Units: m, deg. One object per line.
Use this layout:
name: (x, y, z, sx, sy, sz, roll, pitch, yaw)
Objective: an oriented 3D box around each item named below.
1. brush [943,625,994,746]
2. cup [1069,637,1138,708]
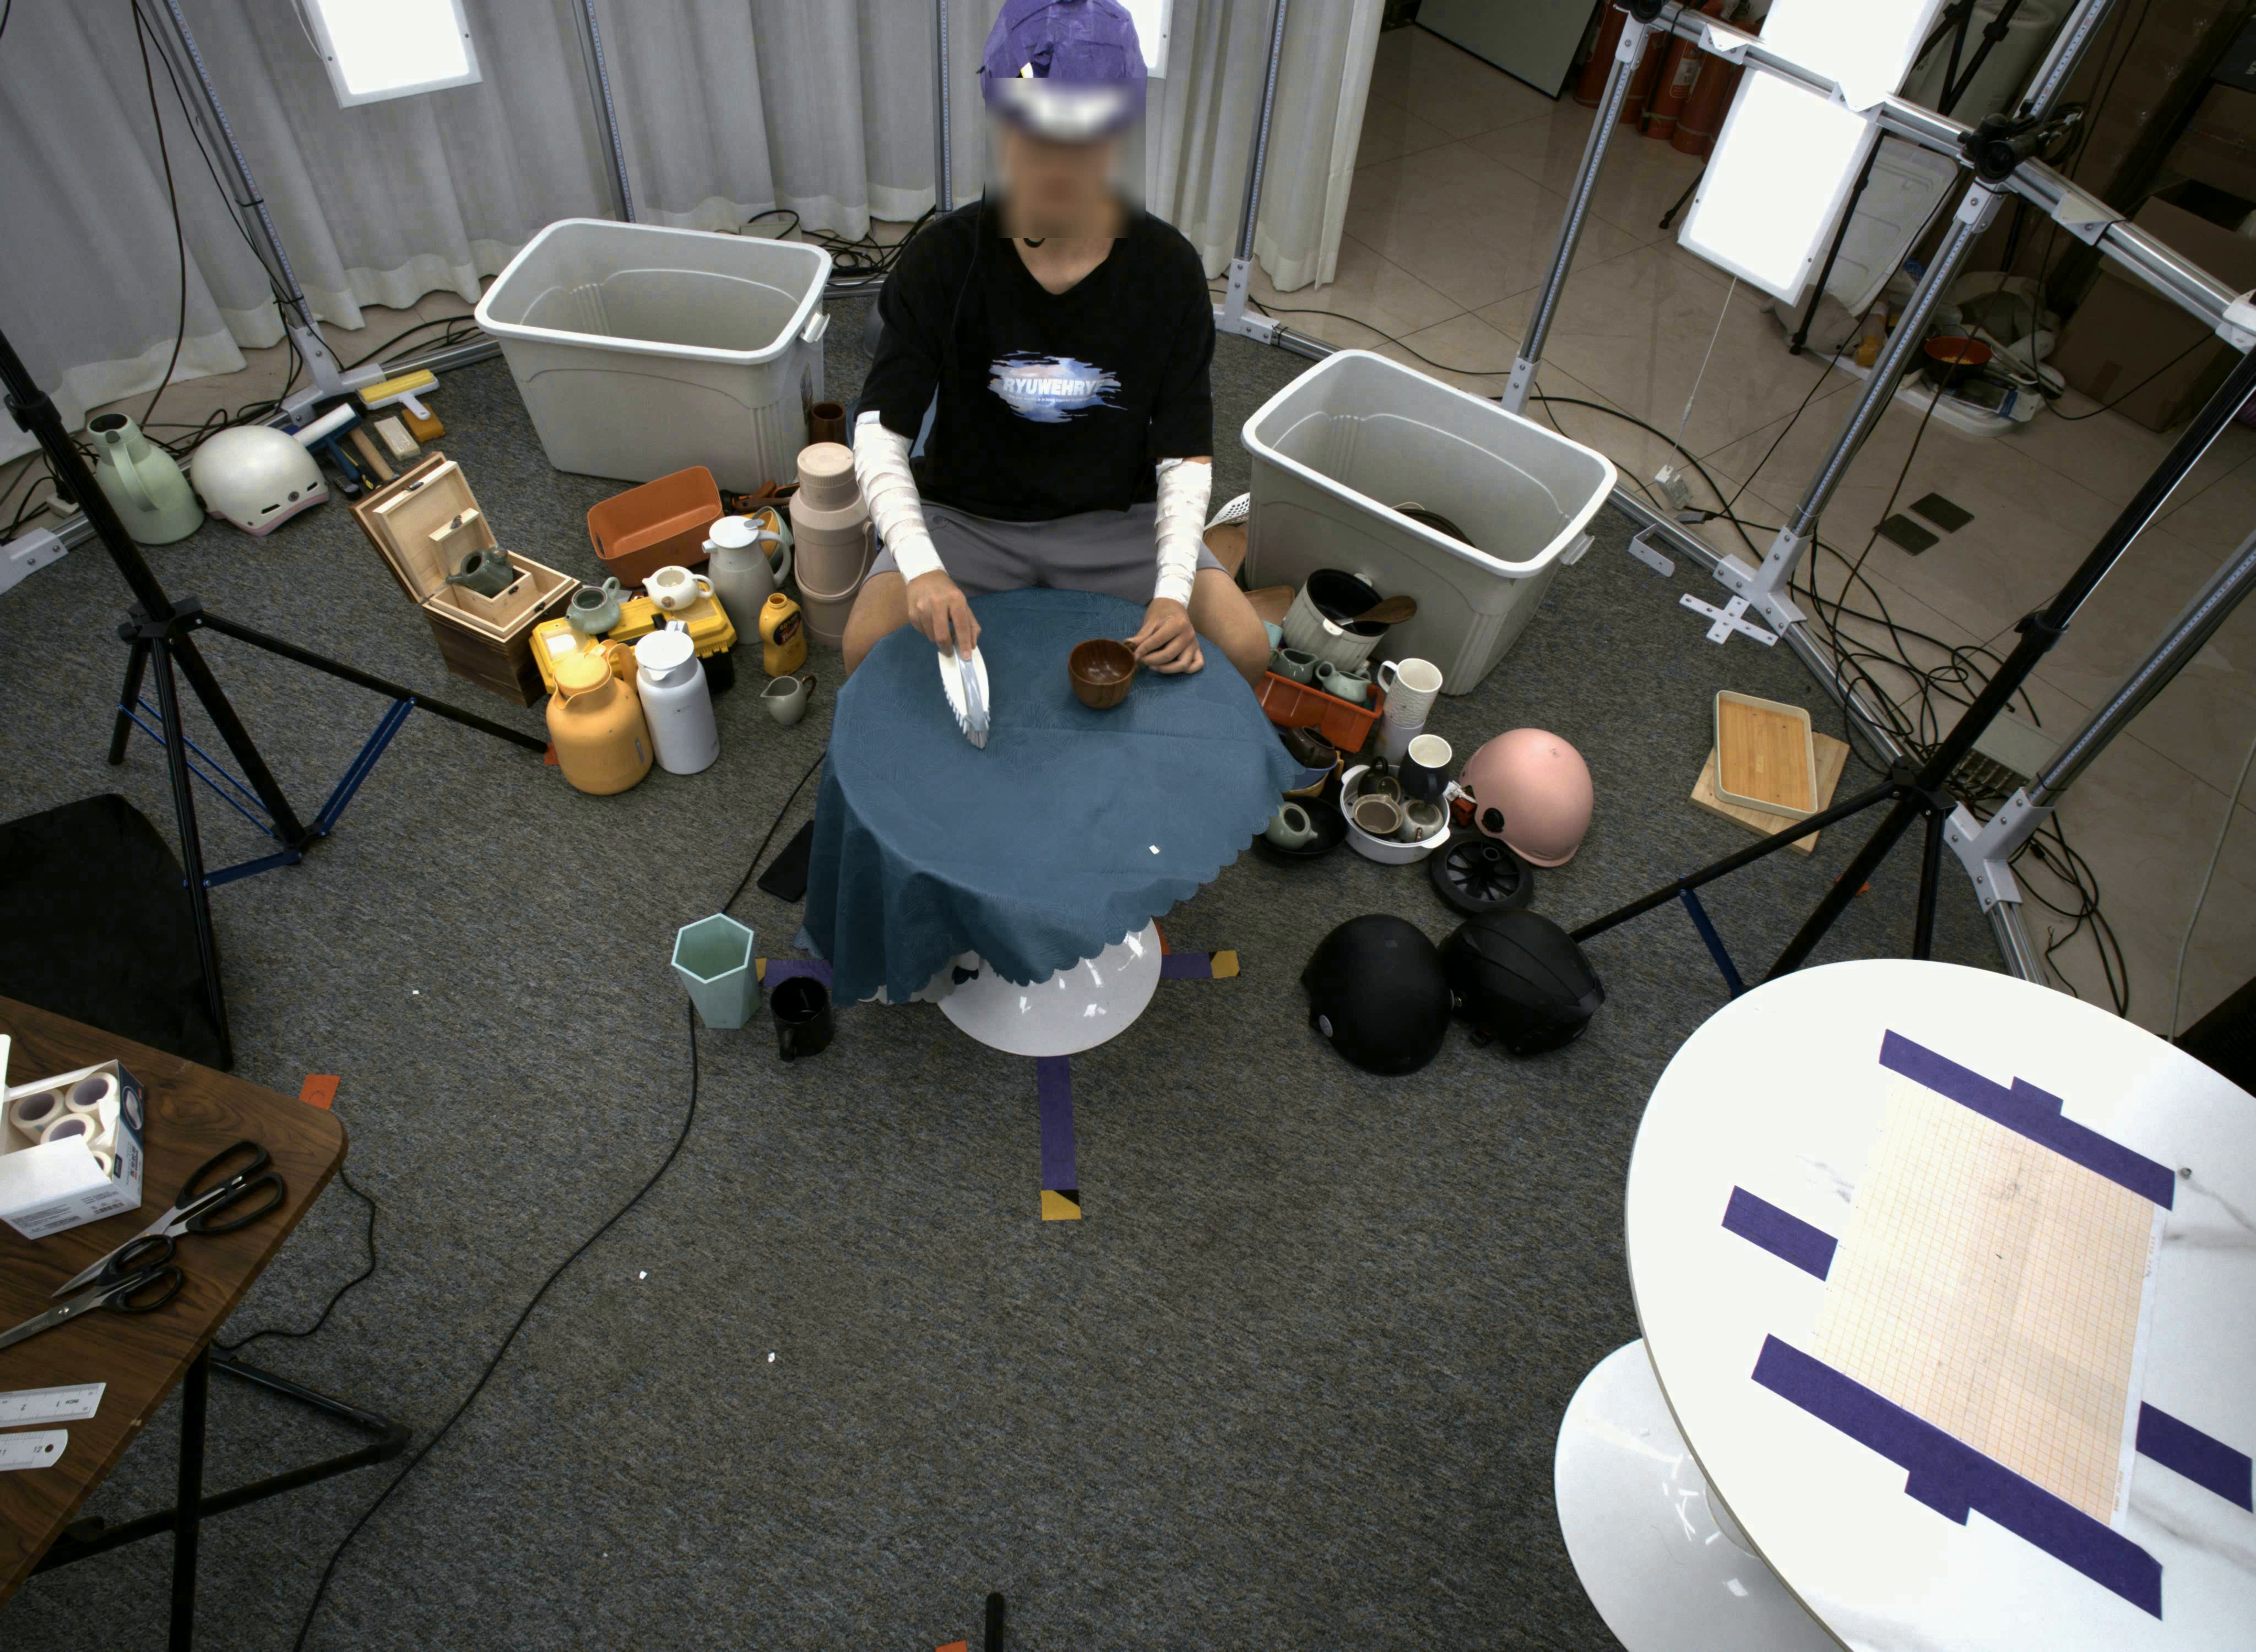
brush: (-0.218, -0.202, 1.771, 0.061, 0.092, 0.179, -12, 57, -5)
cup: (-0.028, -0.217, 1.816, 0.097, 0.066, 0.121, 32, 54, 24)
